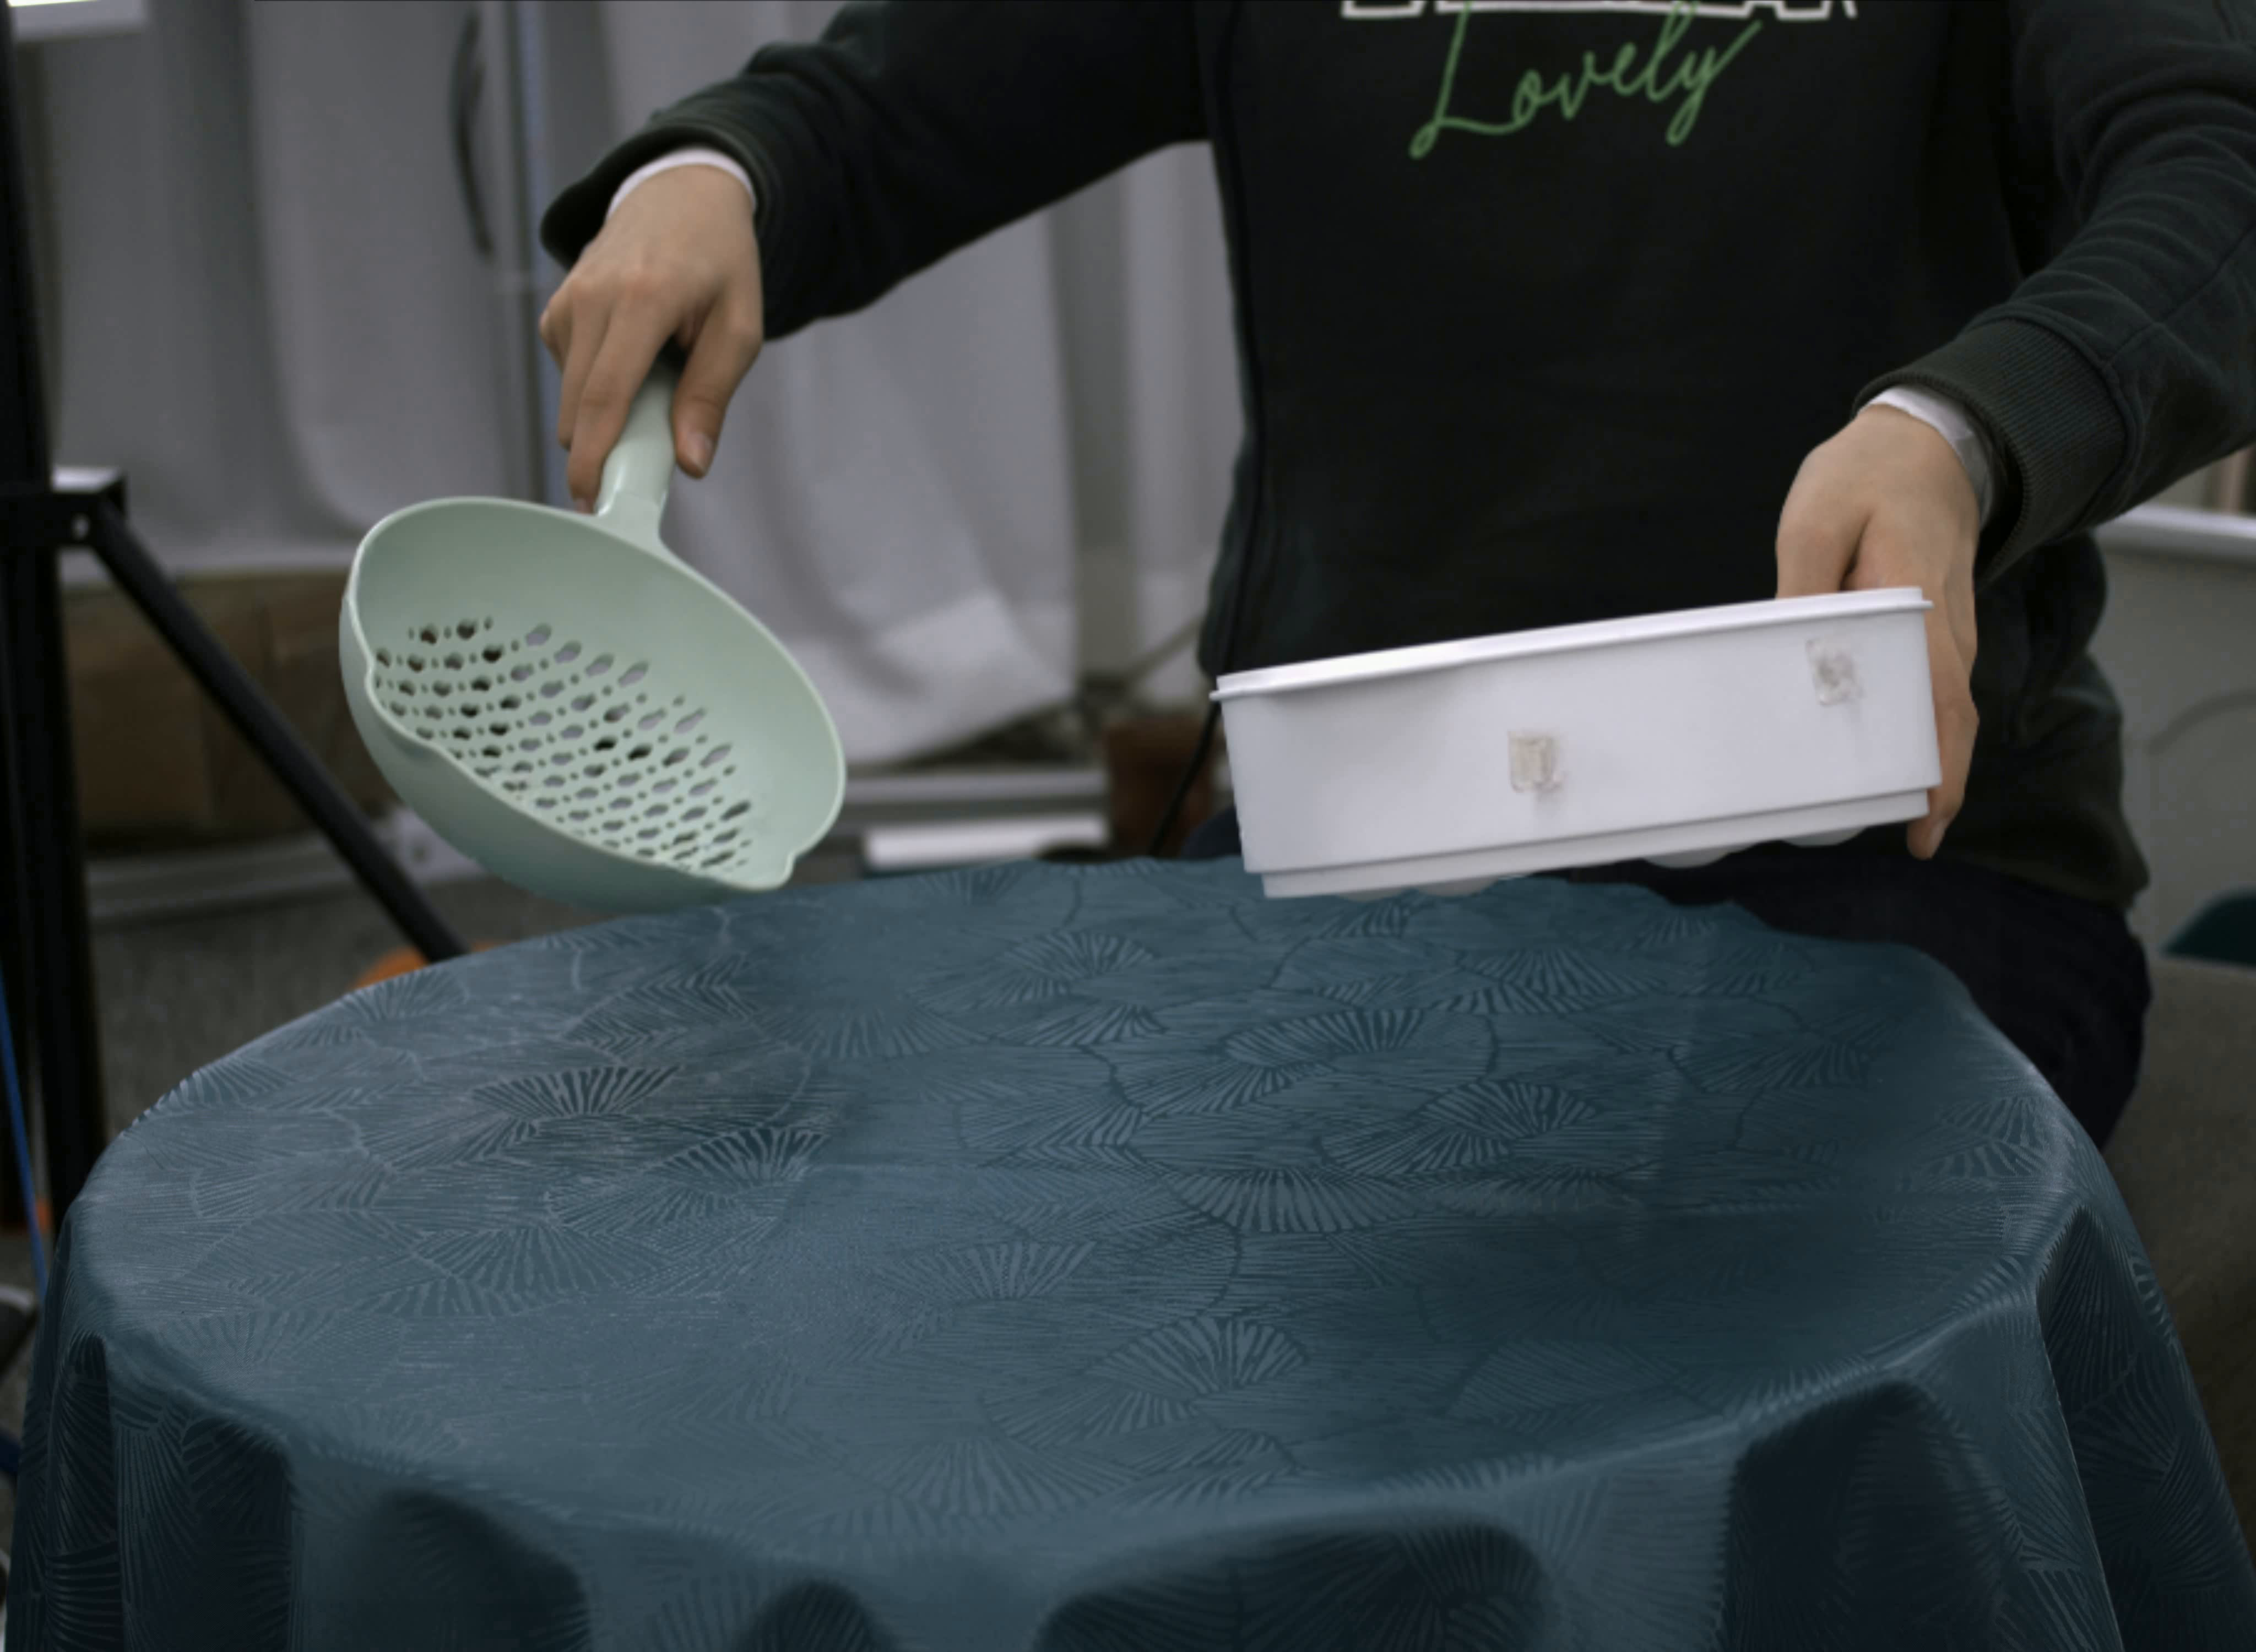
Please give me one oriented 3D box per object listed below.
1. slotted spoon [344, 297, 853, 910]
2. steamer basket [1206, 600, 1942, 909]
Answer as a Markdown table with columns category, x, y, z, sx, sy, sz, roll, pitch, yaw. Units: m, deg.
| category | x | y | z | sx | sy | sz | roll | pitch | yaw |
| --- | --- | --- | --- | --- | --- | --- | --- | --- | --- |
| slotted spoon | -0.163 | -0.091 | 1.733 | 0.167 | 0.076 | 0.361 | 25 | 38 | -13 |
| steamer basket | 0.124 | -0.018 | 1.455 | 0.206 | 0.069 | 0.225 | -6 | 1 | 42 |
